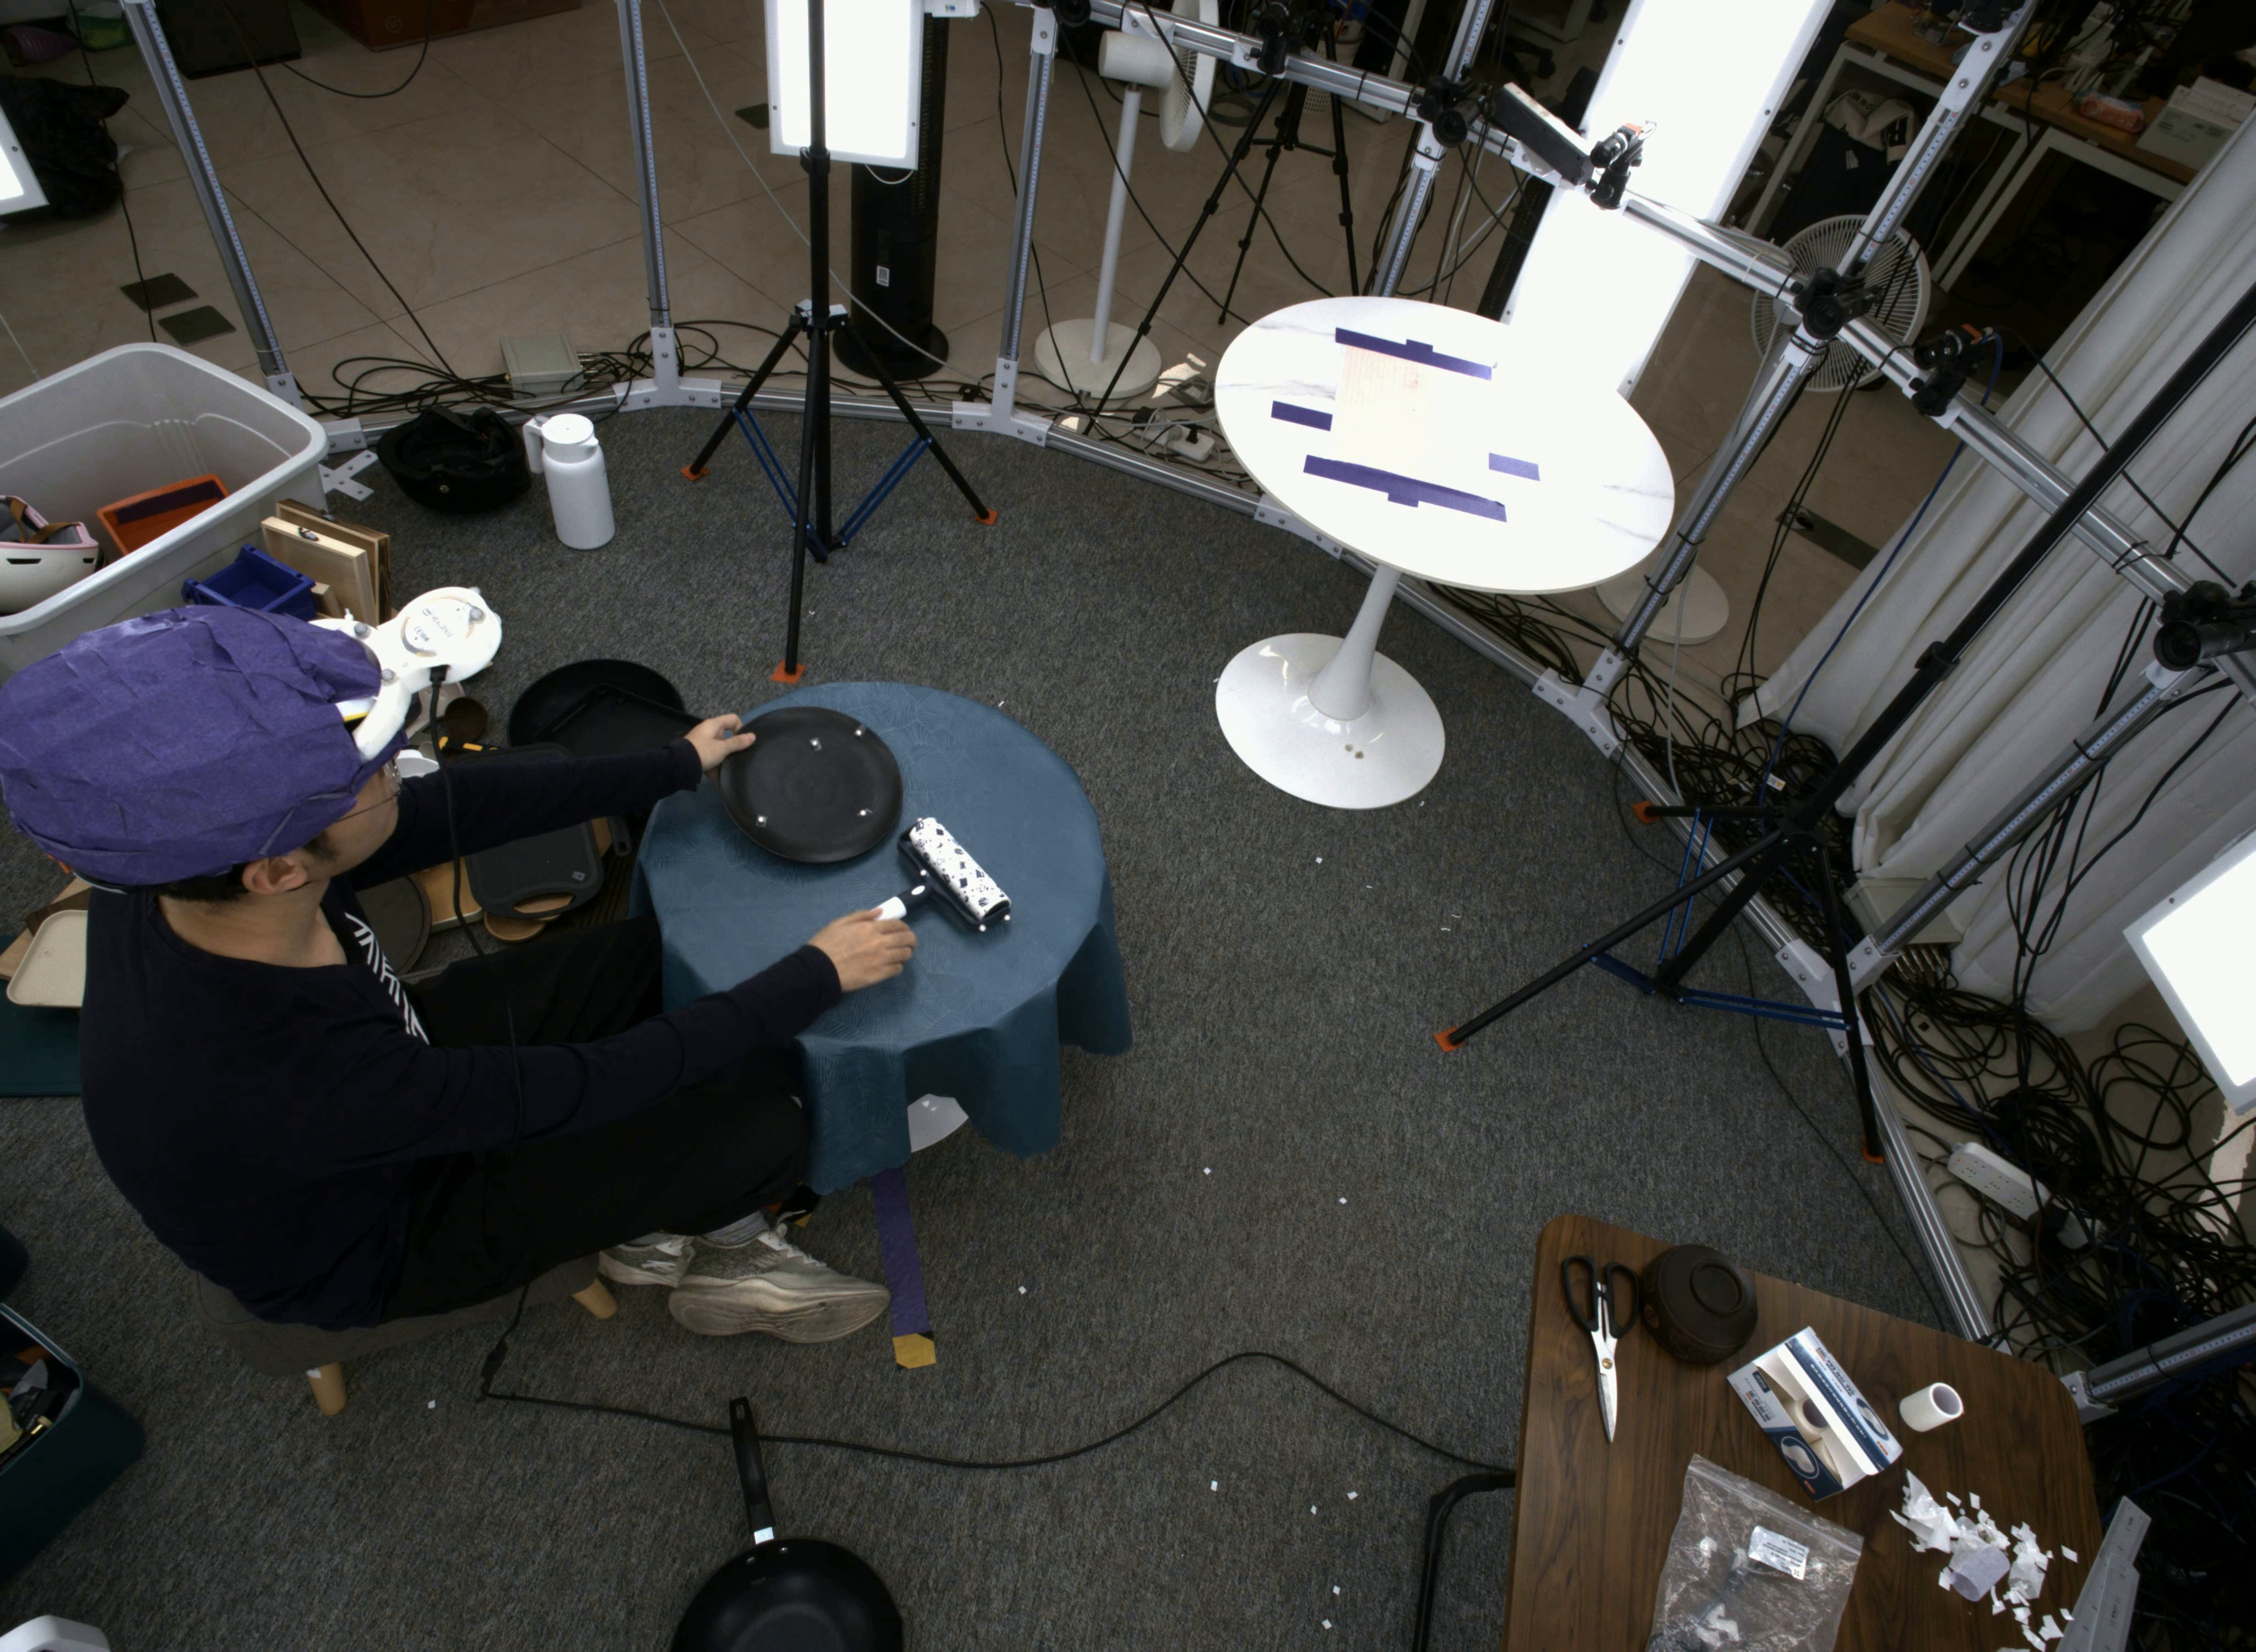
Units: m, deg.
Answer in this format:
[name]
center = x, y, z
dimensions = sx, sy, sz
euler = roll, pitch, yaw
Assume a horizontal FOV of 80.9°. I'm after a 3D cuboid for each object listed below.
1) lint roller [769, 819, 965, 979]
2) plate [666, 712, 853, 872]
[lint roller]
center = -0.350, 0.110, 1.647
dimensions = 0.172, 0.051, 0.247
euler = 43, 59, 17
[plate]
center = -0.487, -0.044, 1.715
dimensions = 0.246, 0.023, 0.241
euler = 12, 58, -18
